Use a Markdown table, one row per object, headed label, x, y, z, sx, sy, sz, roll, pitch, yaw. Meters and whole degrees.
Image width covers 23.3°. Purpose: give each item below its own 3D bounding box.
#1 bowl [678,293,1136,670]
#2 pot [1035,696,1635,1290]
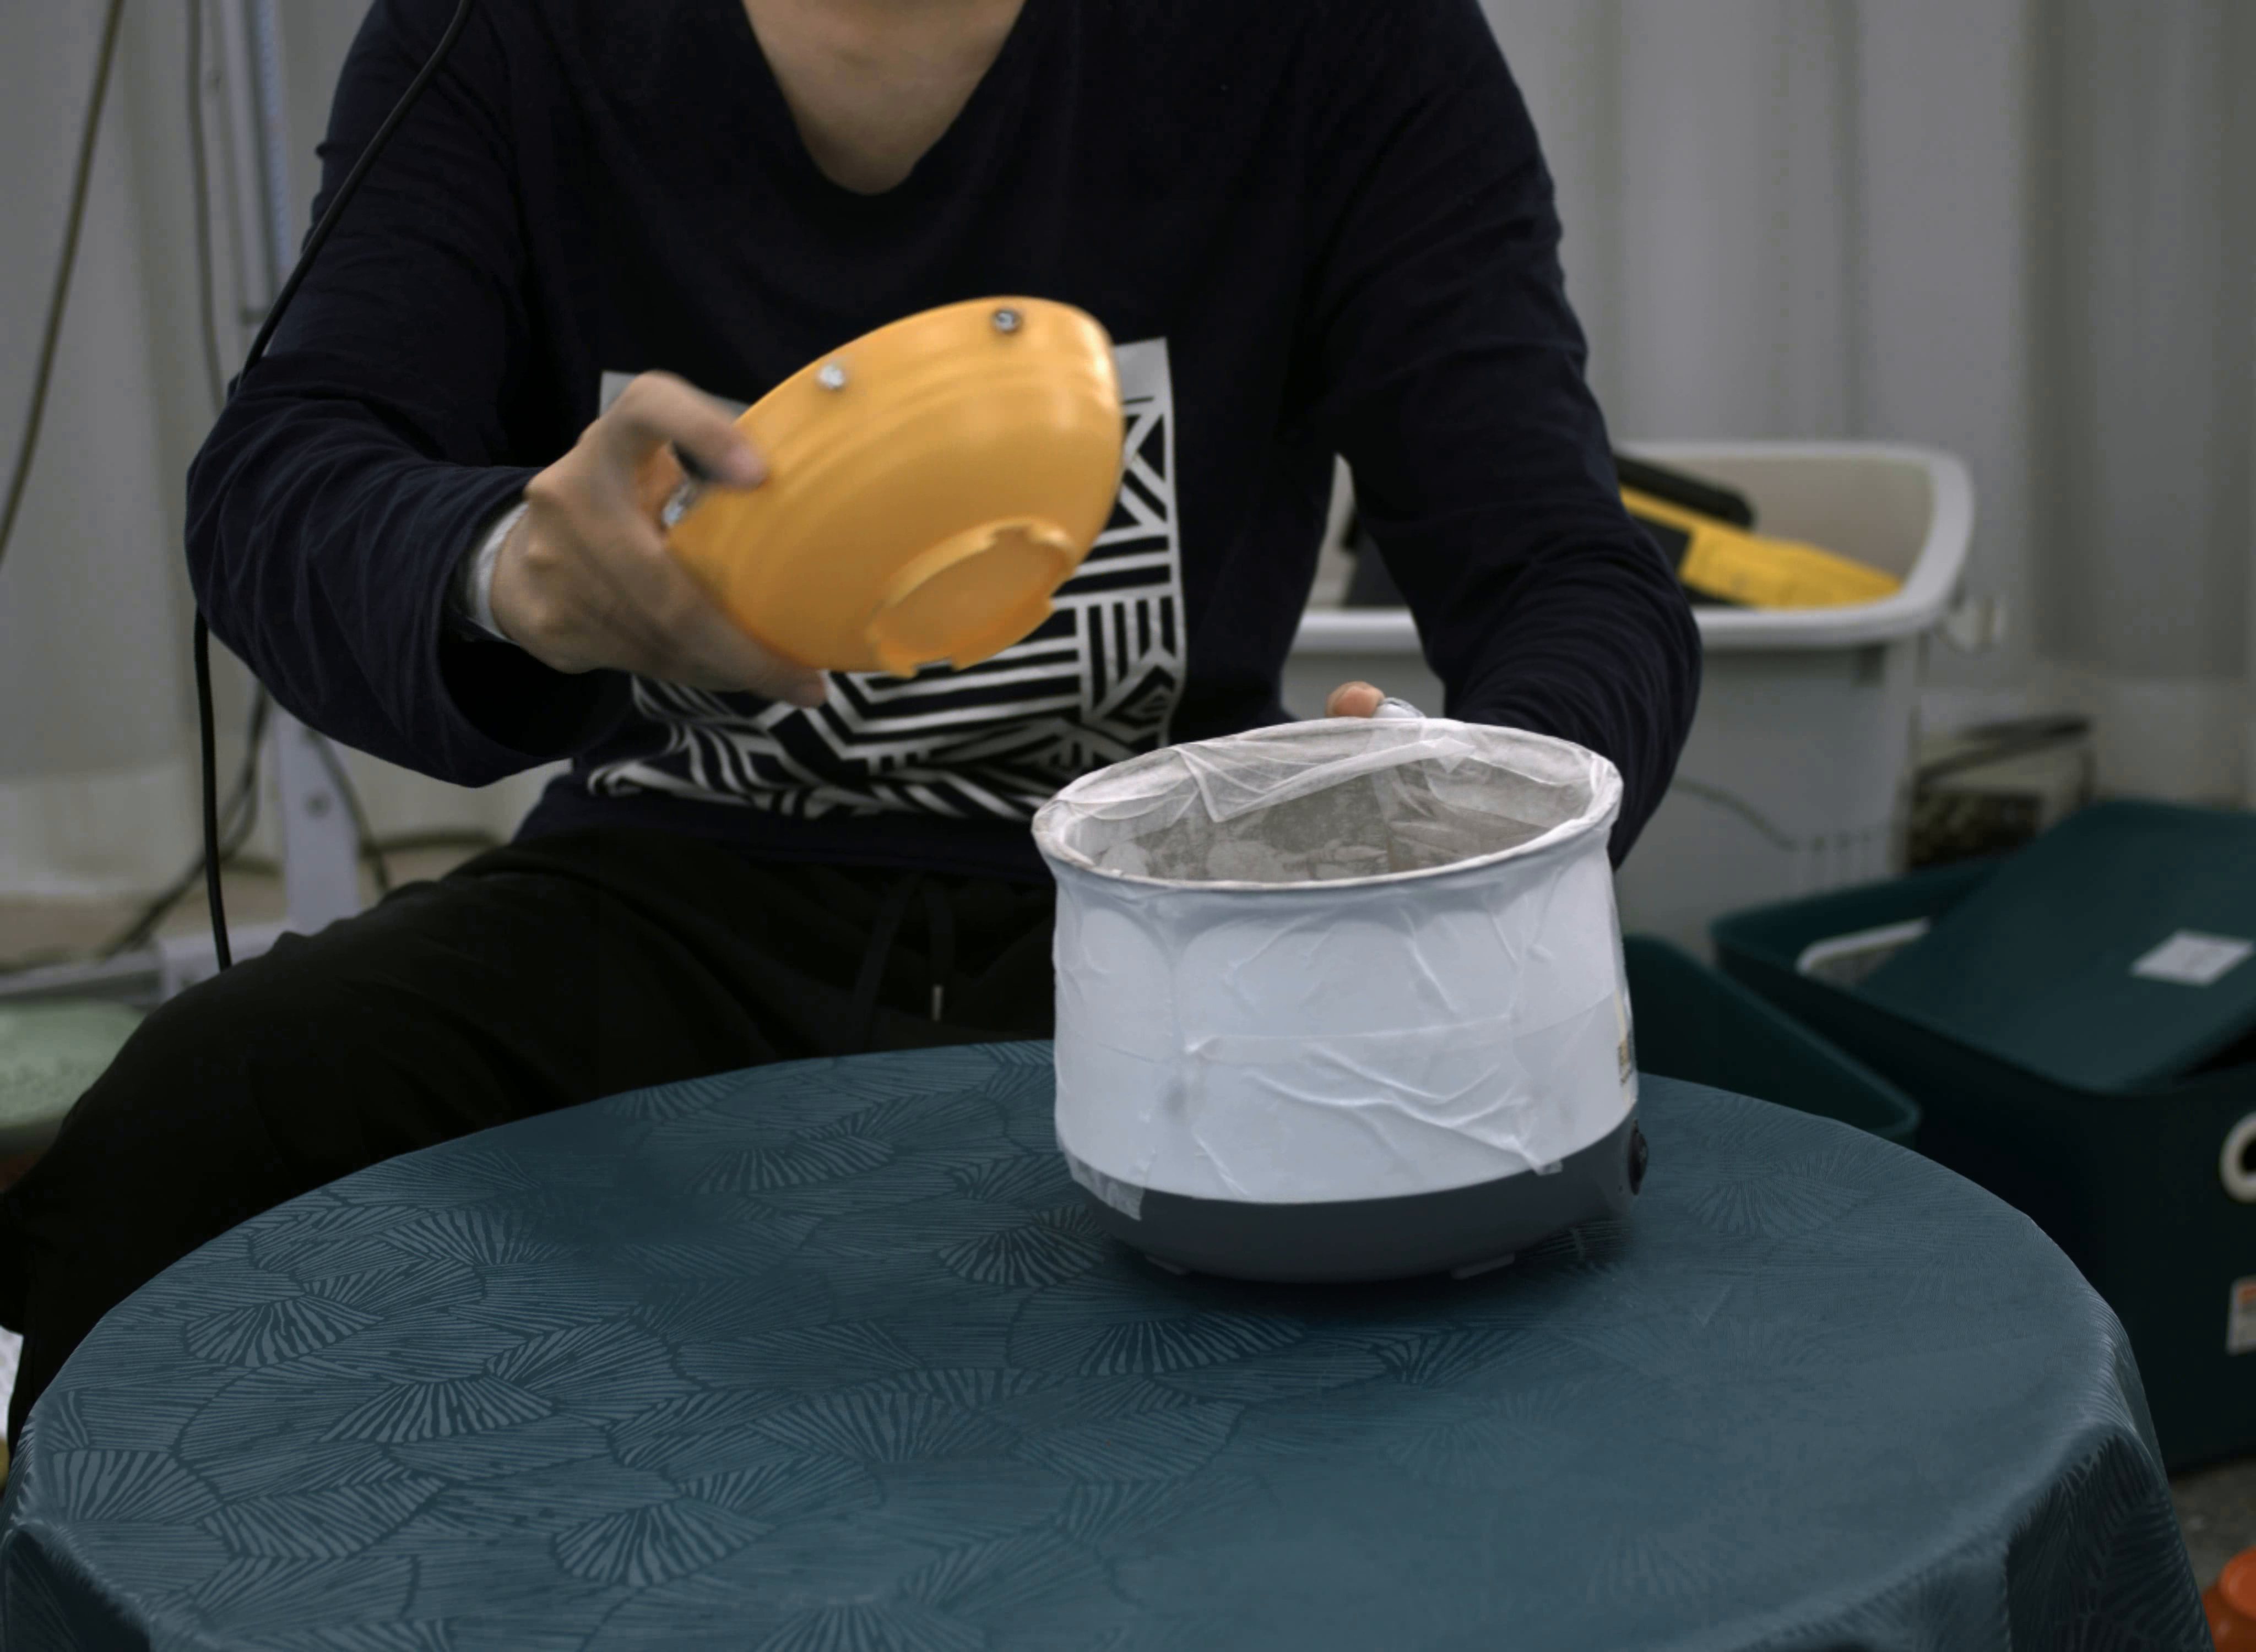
| label | x | y | z | sx | sy | sz | roll | pitch | yaw |
| --- | --- | --- | --- | --- | --- | --- | --- | --- | --- |
| bowl | -0.055 | -0.088 | 1.609 | 0.145 | 0.144 | 0.061 | -11 | 59 | -30 |
| pot | 0.069 | 0.045 | 1.675 | 0.178 | 0.136 | 0.235 | 1 | 17 | 13 |
